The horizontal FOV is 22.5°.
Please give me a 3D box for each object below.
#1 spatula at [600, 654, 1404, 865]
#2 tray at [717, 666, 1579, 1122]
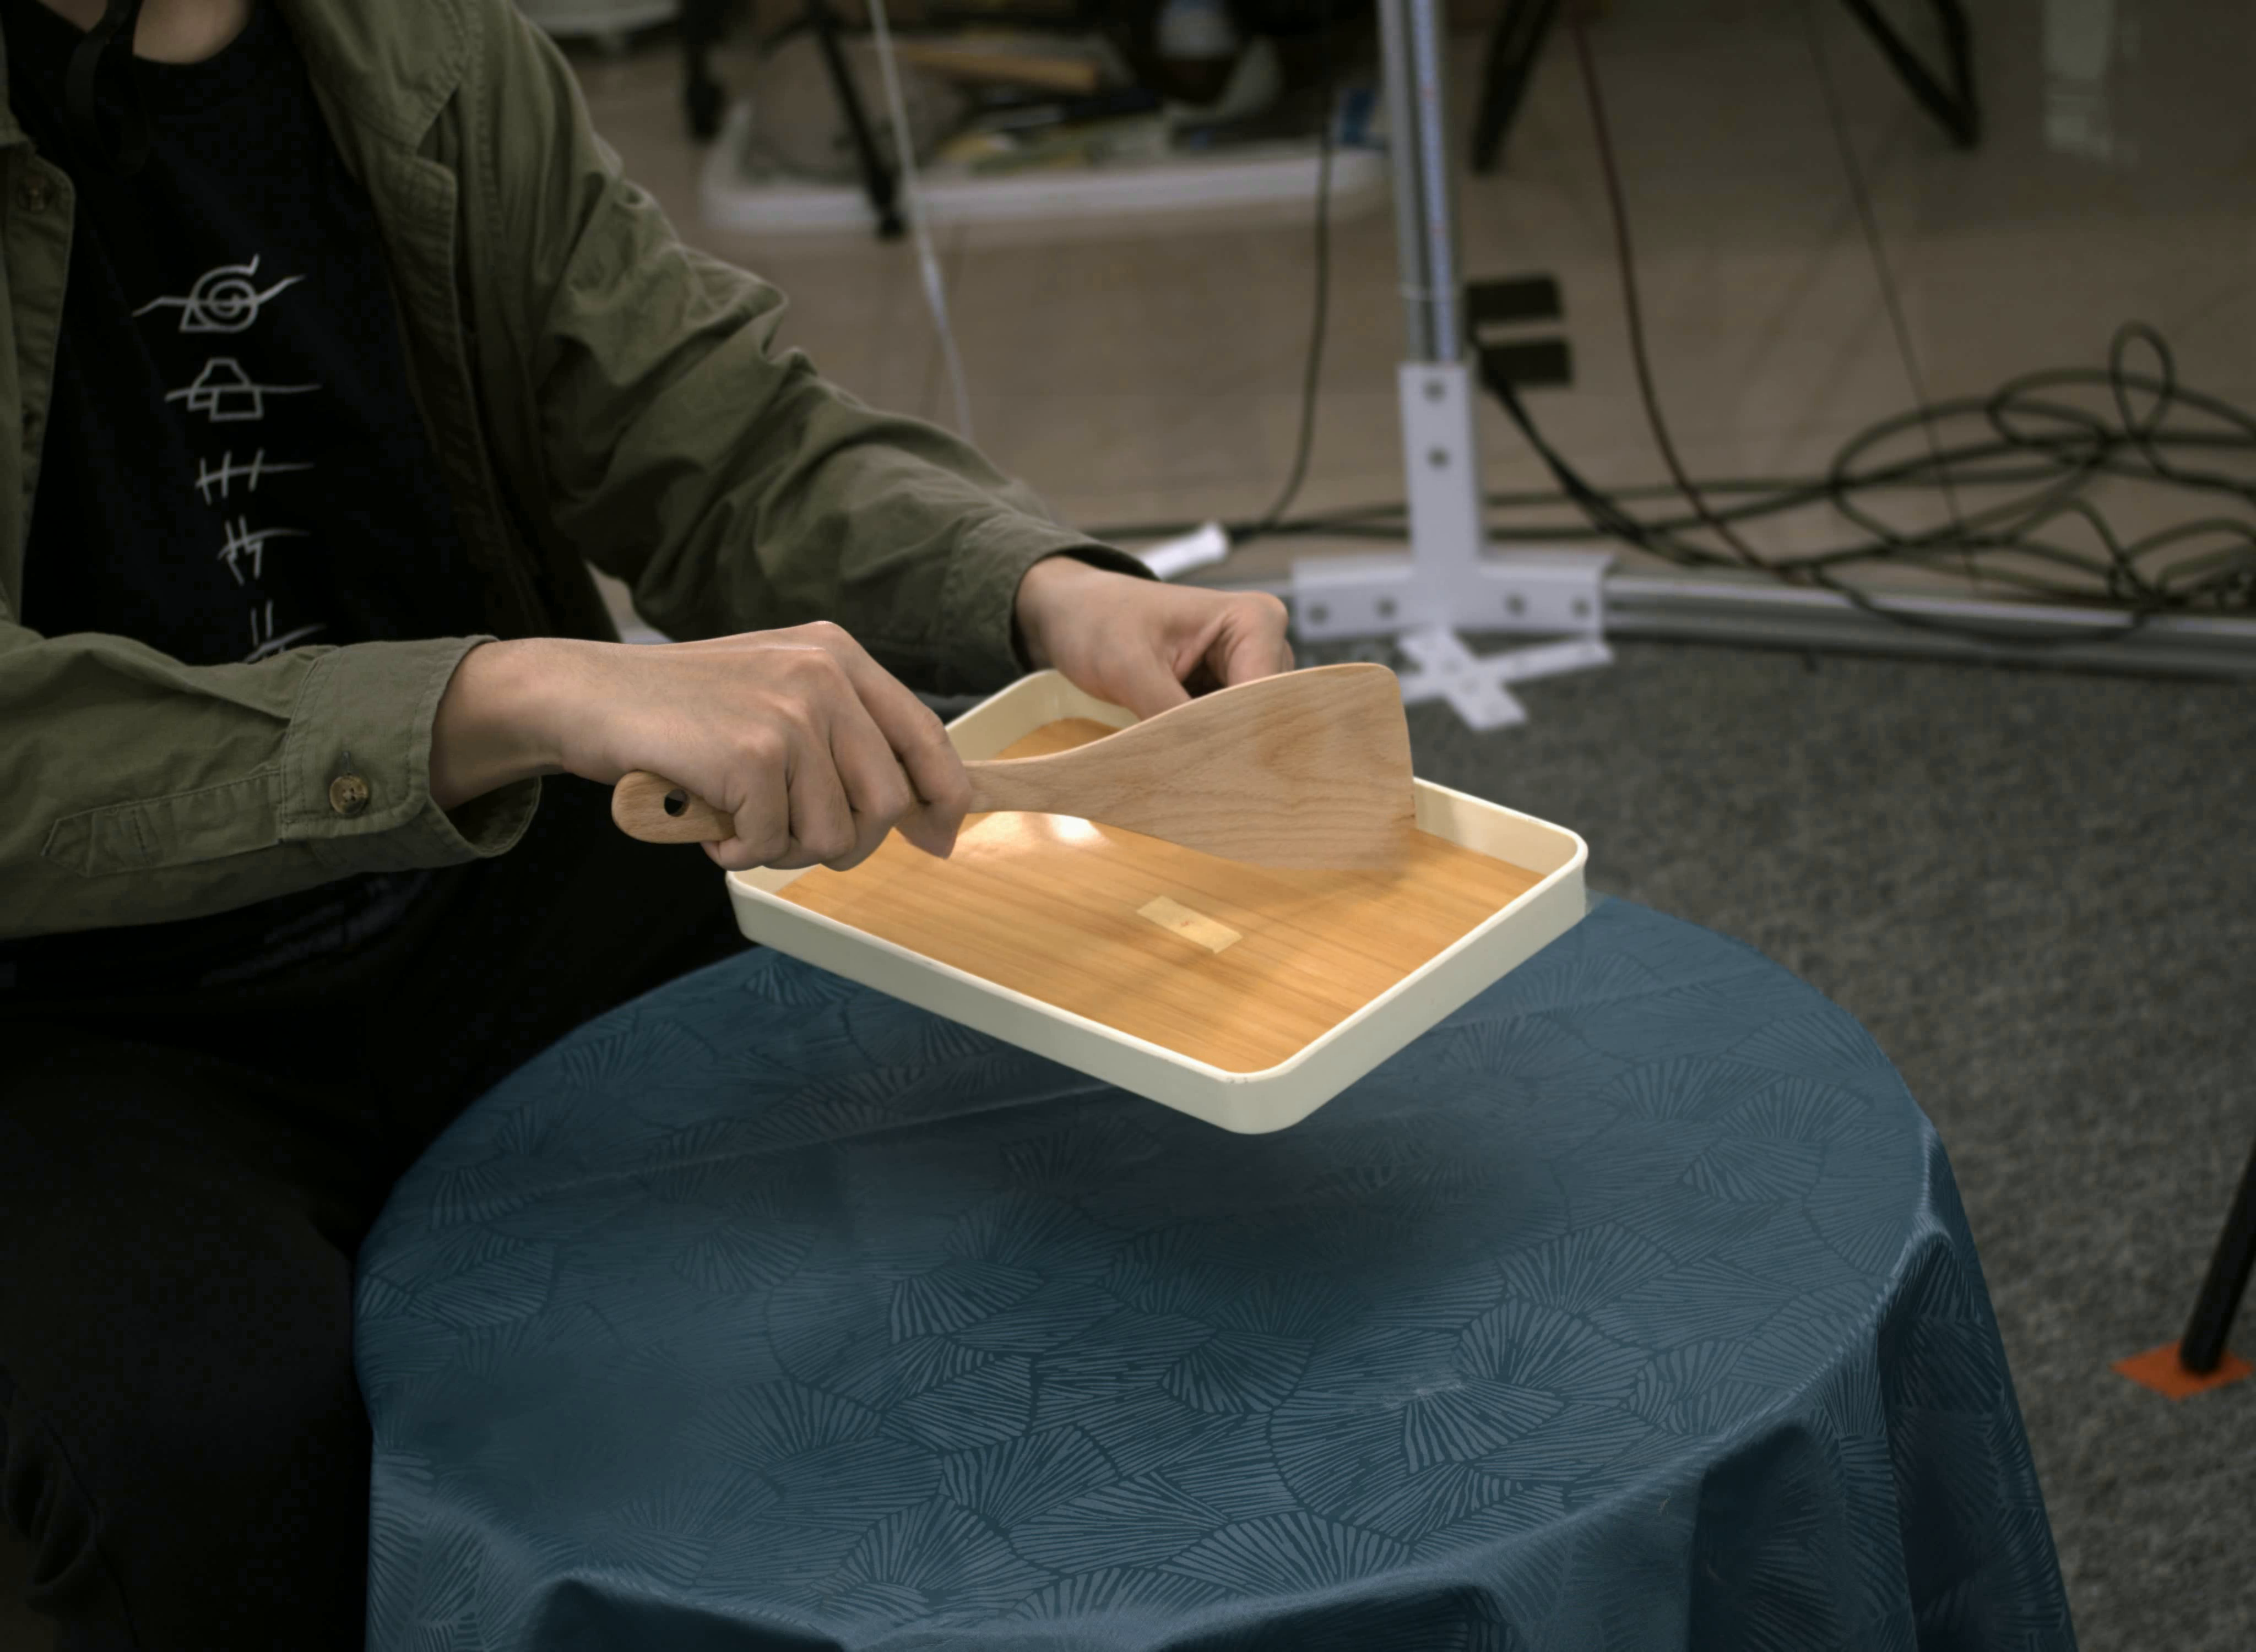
[{"bbox_3d":[-0.040,-0.016,2.036,0.327,0.081,0.016,-5,16,-30],"label":"spatula"},{"bbox_3d":[0.004,0.021,2.138,0.190,0.028,0.298,-33,35,-33],"label":"tray"}]
